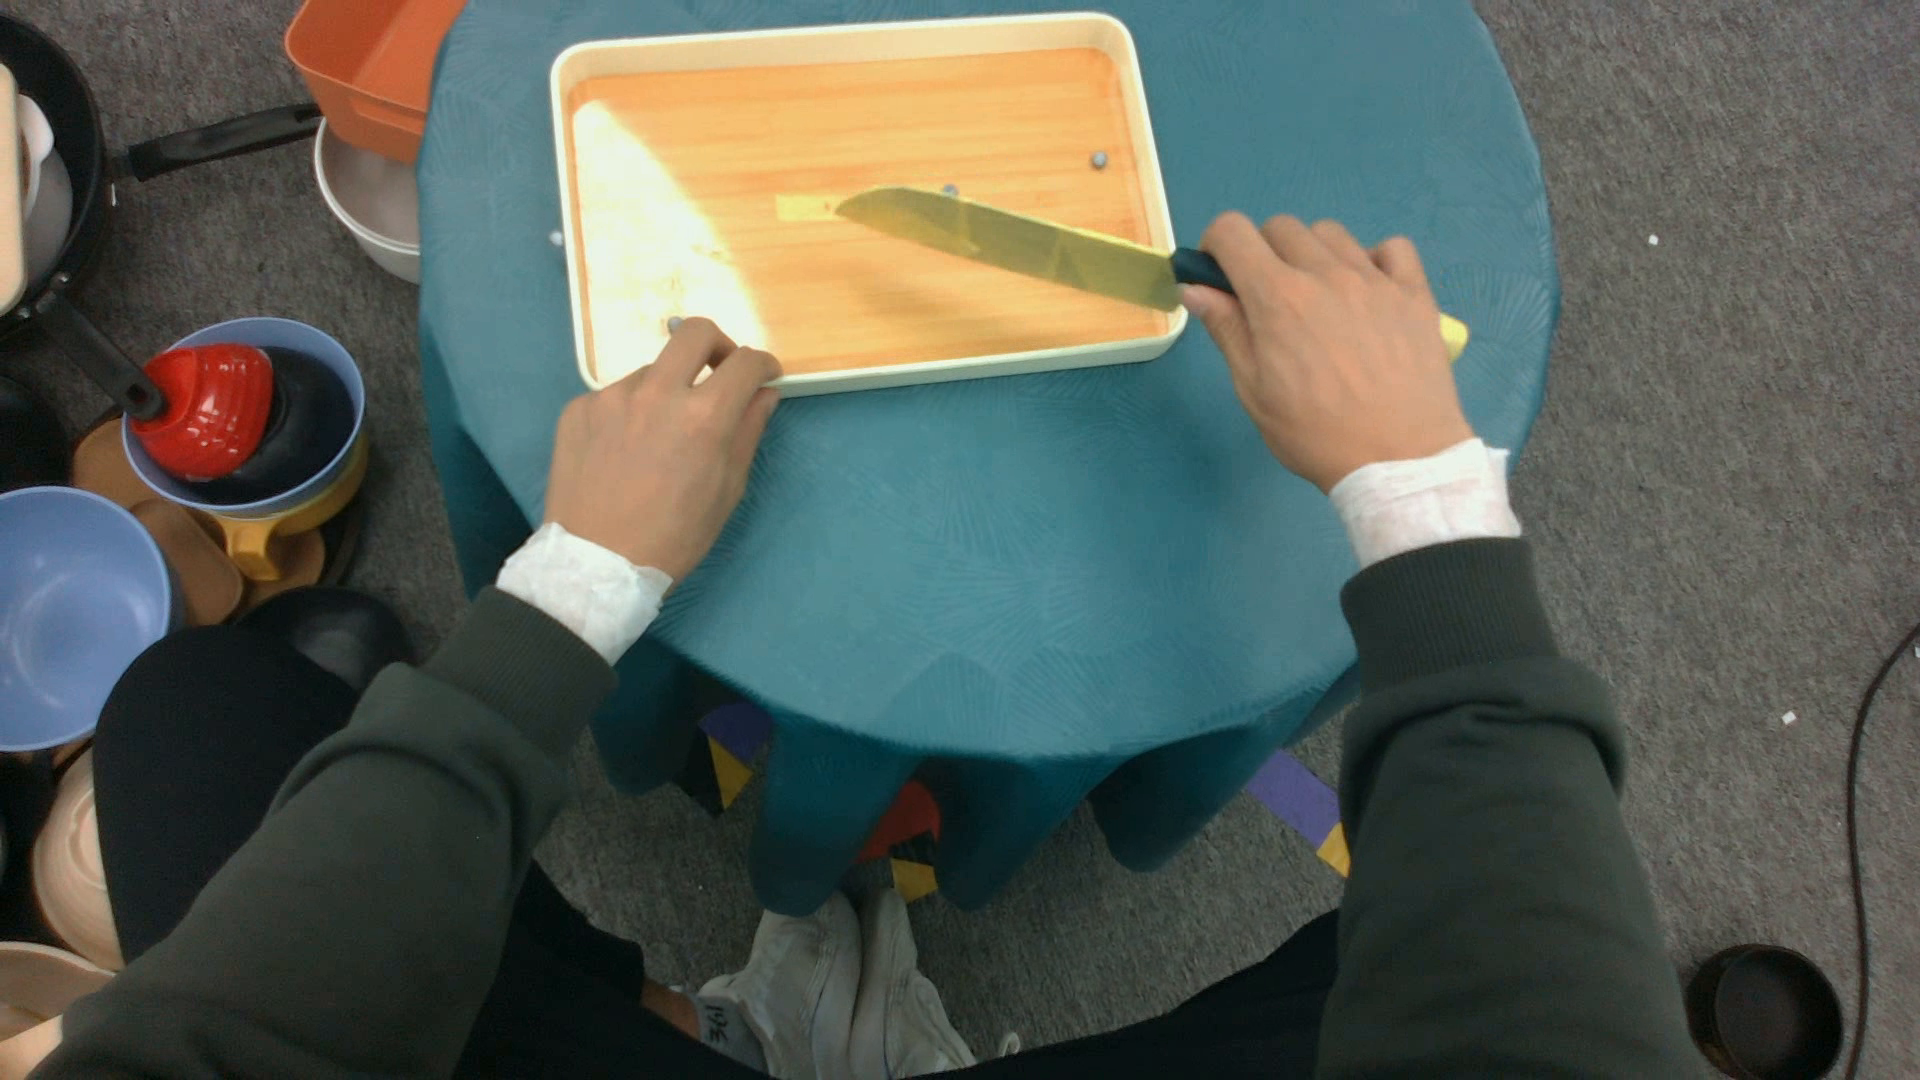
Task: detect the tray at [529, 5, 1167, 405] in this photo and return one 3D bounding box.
[{"bbox_3d":[-0.056,-0.174,0.698,0.300,0.027,0.192,-7,76,-10],"label":"tray"}]

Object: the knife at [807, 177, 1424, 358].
[{"bbox_3d":[0.067,-0.126,0.635,0.289,0.081,0.027,15,84,4],"label":"knife"}]
